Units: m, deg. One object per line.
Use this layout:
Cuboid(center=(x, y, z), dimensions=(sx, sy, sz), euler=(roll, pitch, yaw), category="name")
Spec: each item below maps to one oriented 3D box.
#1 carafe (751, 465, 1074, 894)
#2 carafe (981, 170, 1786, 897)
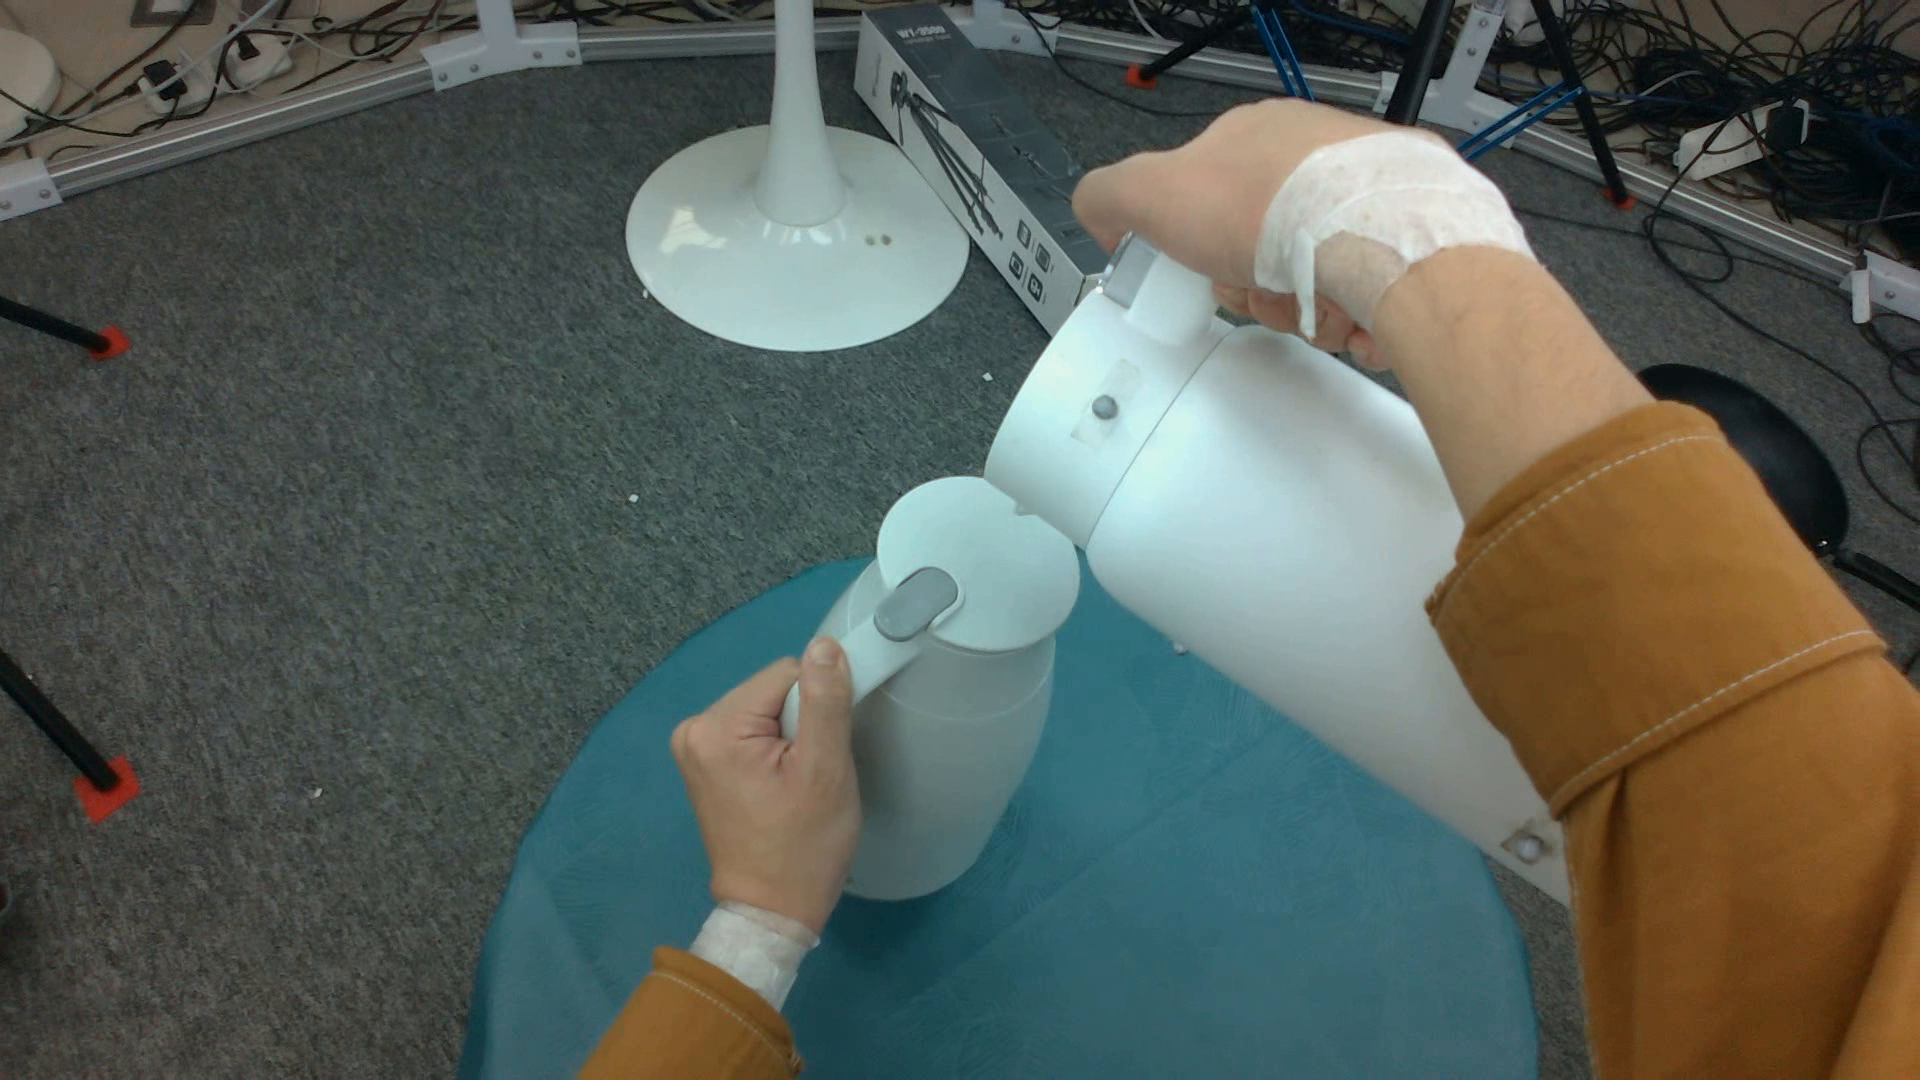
Cuboid(center=(-0.032, 0.079, 0.680), dimensions=(0.168, 0.247, 0.132), euler=(-33, 69, -31), category="carafe")
Cuboid(center=(0.149, -0.006, 0.490), dimensions=(0.269, 0.172, 0.124), euler=(36, 43, 11), category="carafe")
